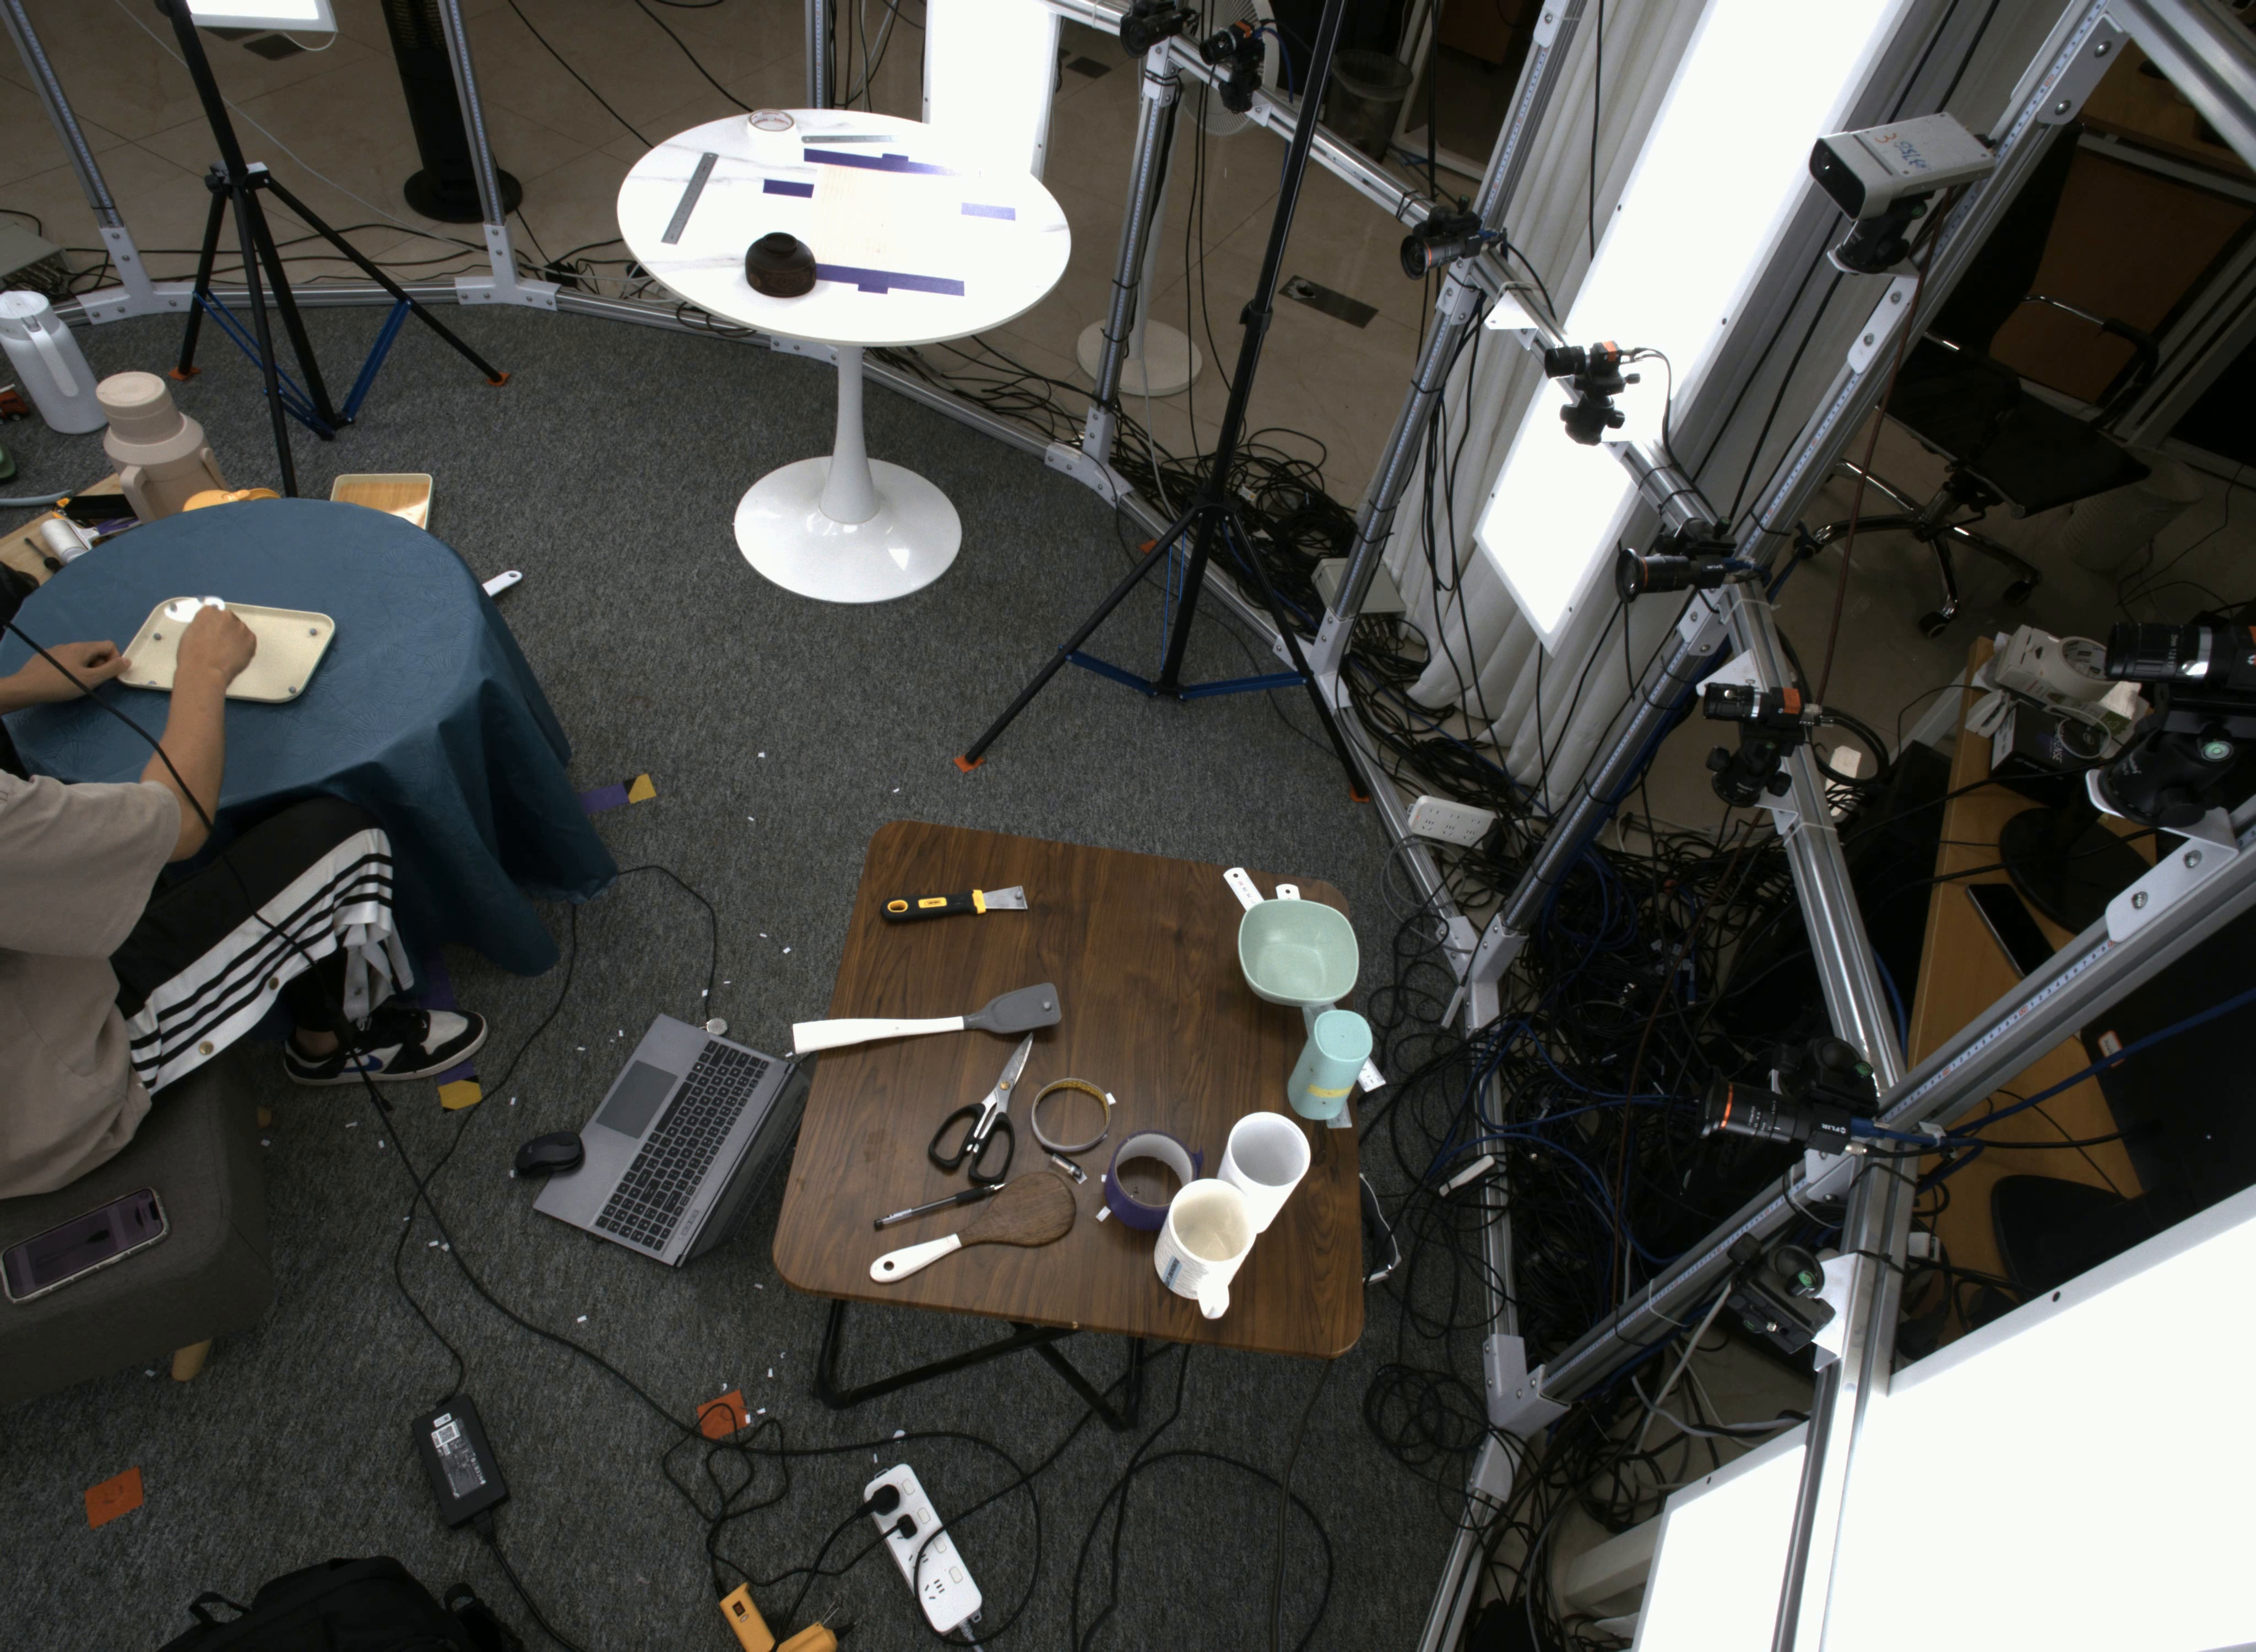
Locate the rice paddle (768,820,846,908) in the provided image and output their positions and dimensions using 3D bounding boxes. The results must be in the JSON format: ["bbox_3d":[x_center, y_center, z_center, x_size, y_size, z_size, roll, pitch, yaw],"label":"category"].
[{"bbox_3d":[-0.392,0.035,1.594,0.069,0.030,0.197,-8,32,-28],"label":"rice paddle"}]

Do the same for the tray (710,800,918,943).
[{"bbox_3d":[-0.406,0.058,1.685,0.237,0.018,0.169,18,51,1],"label":"tray"}]
